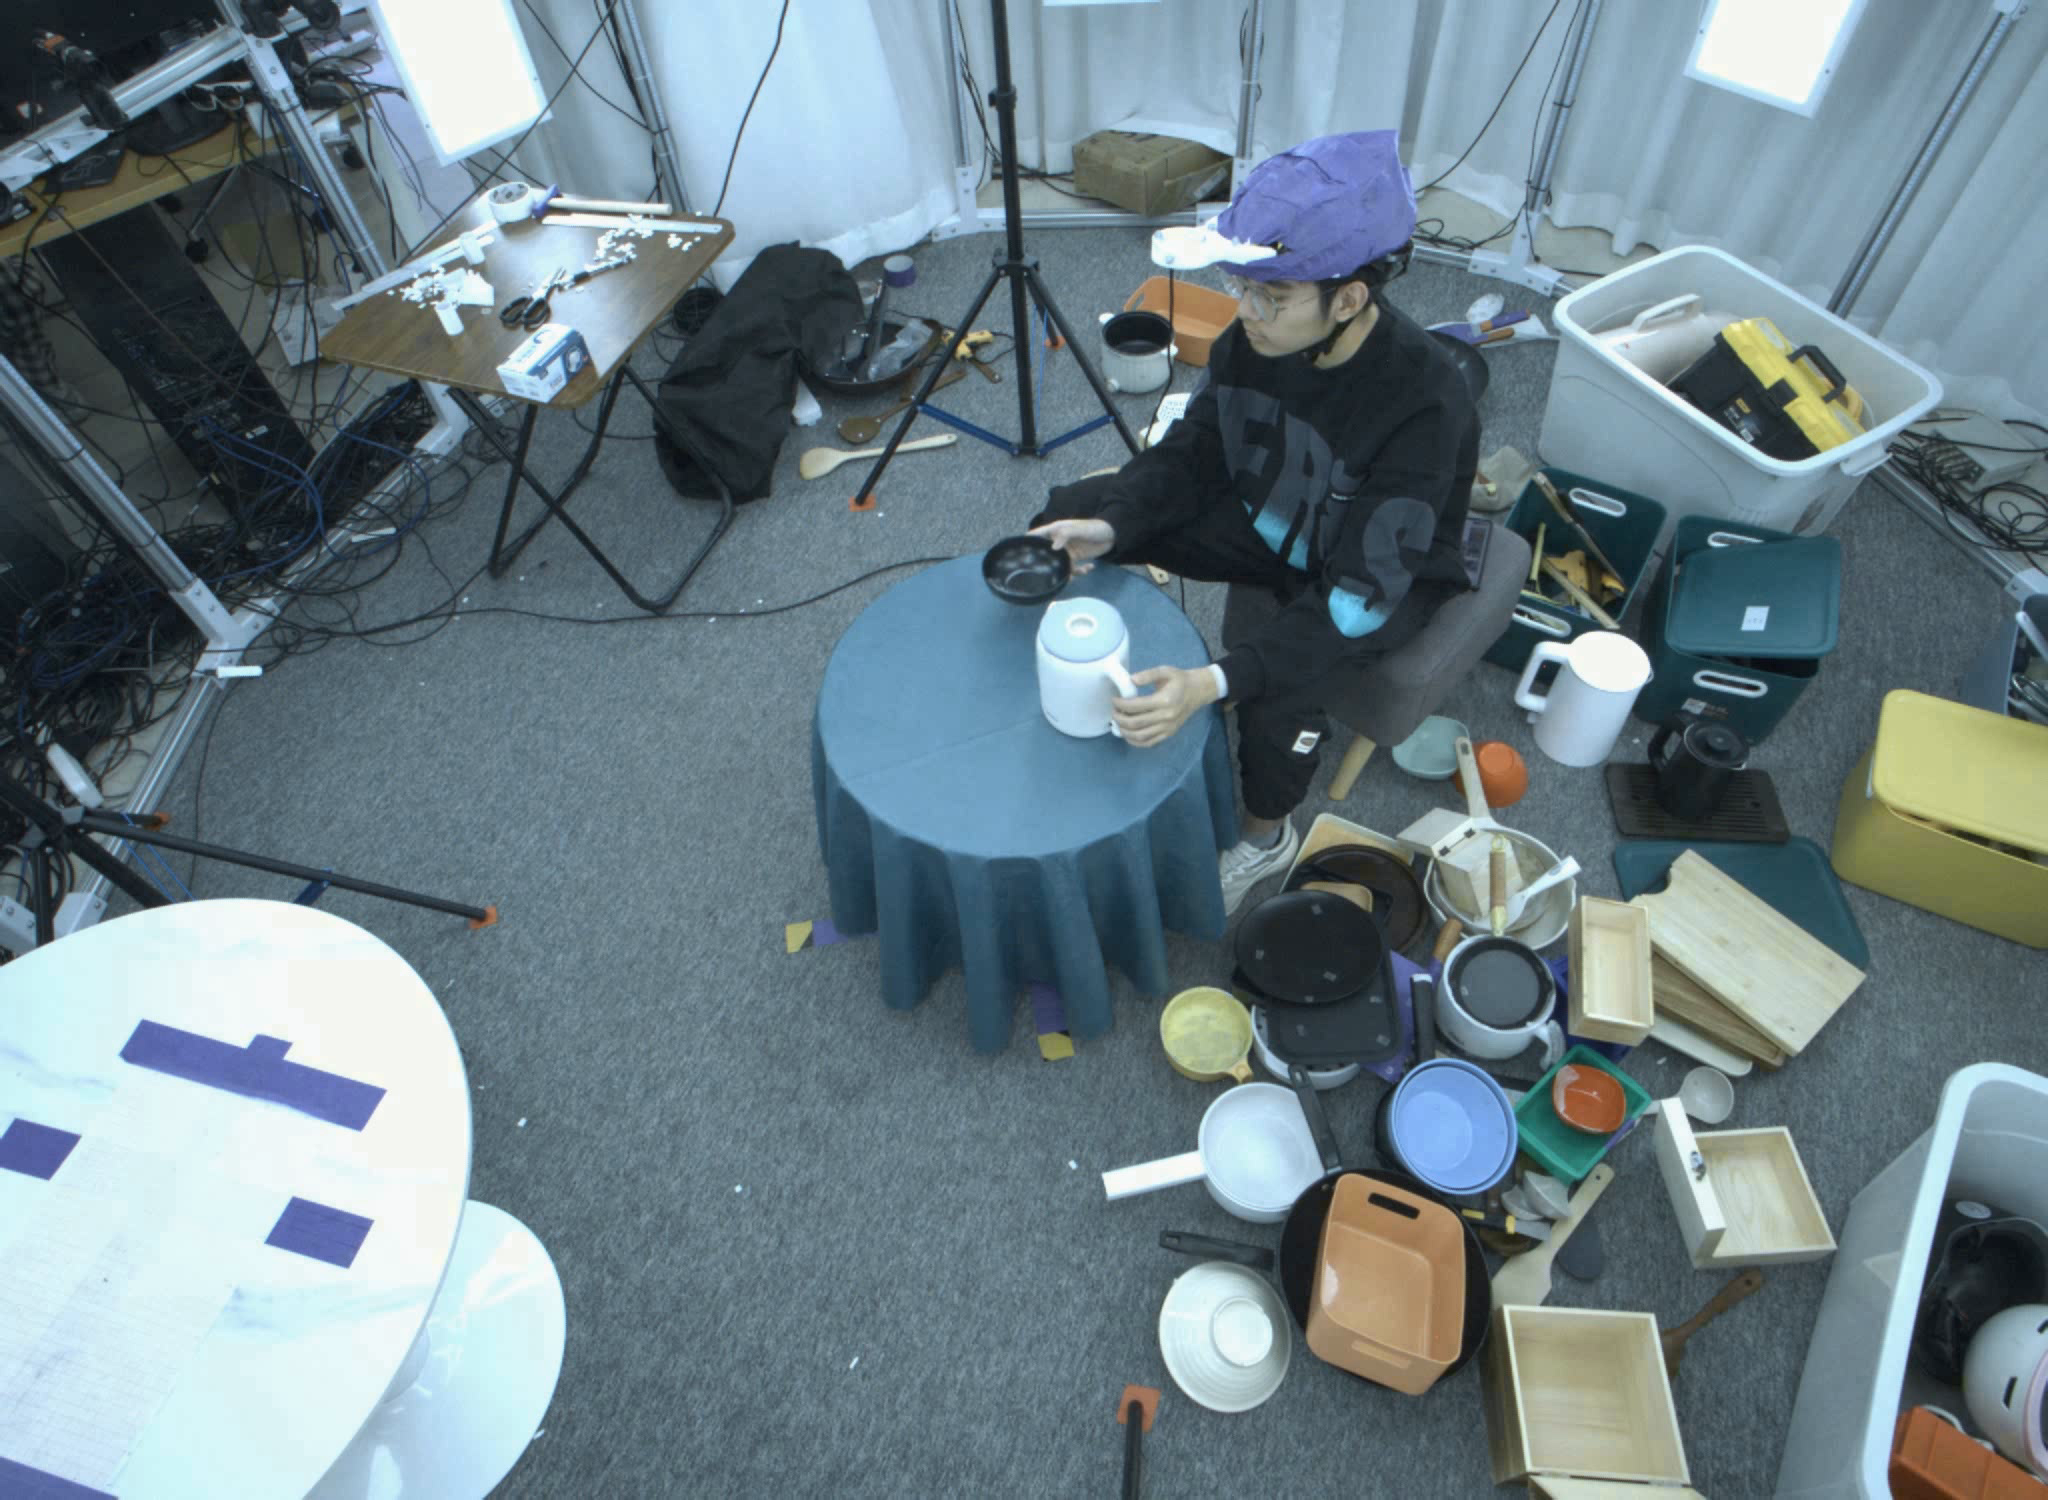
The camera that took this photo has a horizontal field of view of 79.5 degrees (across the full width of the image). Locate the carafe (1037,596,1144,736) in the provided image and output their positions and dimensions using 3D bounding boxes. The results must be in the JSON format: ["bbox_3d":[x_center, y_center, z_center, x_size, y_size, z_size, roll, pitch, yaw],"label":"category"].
[{"bbox_3d":[0.102,-0.104,1.748,0.133,0.184,0.188,-36,62,-19],"label":"carafe"}]

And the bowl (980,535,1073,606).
[{"bbox_3d":[0.004,-0.264,1.866,0.140,0.050,0.138,1,51,0],"label":"bowl"}]
